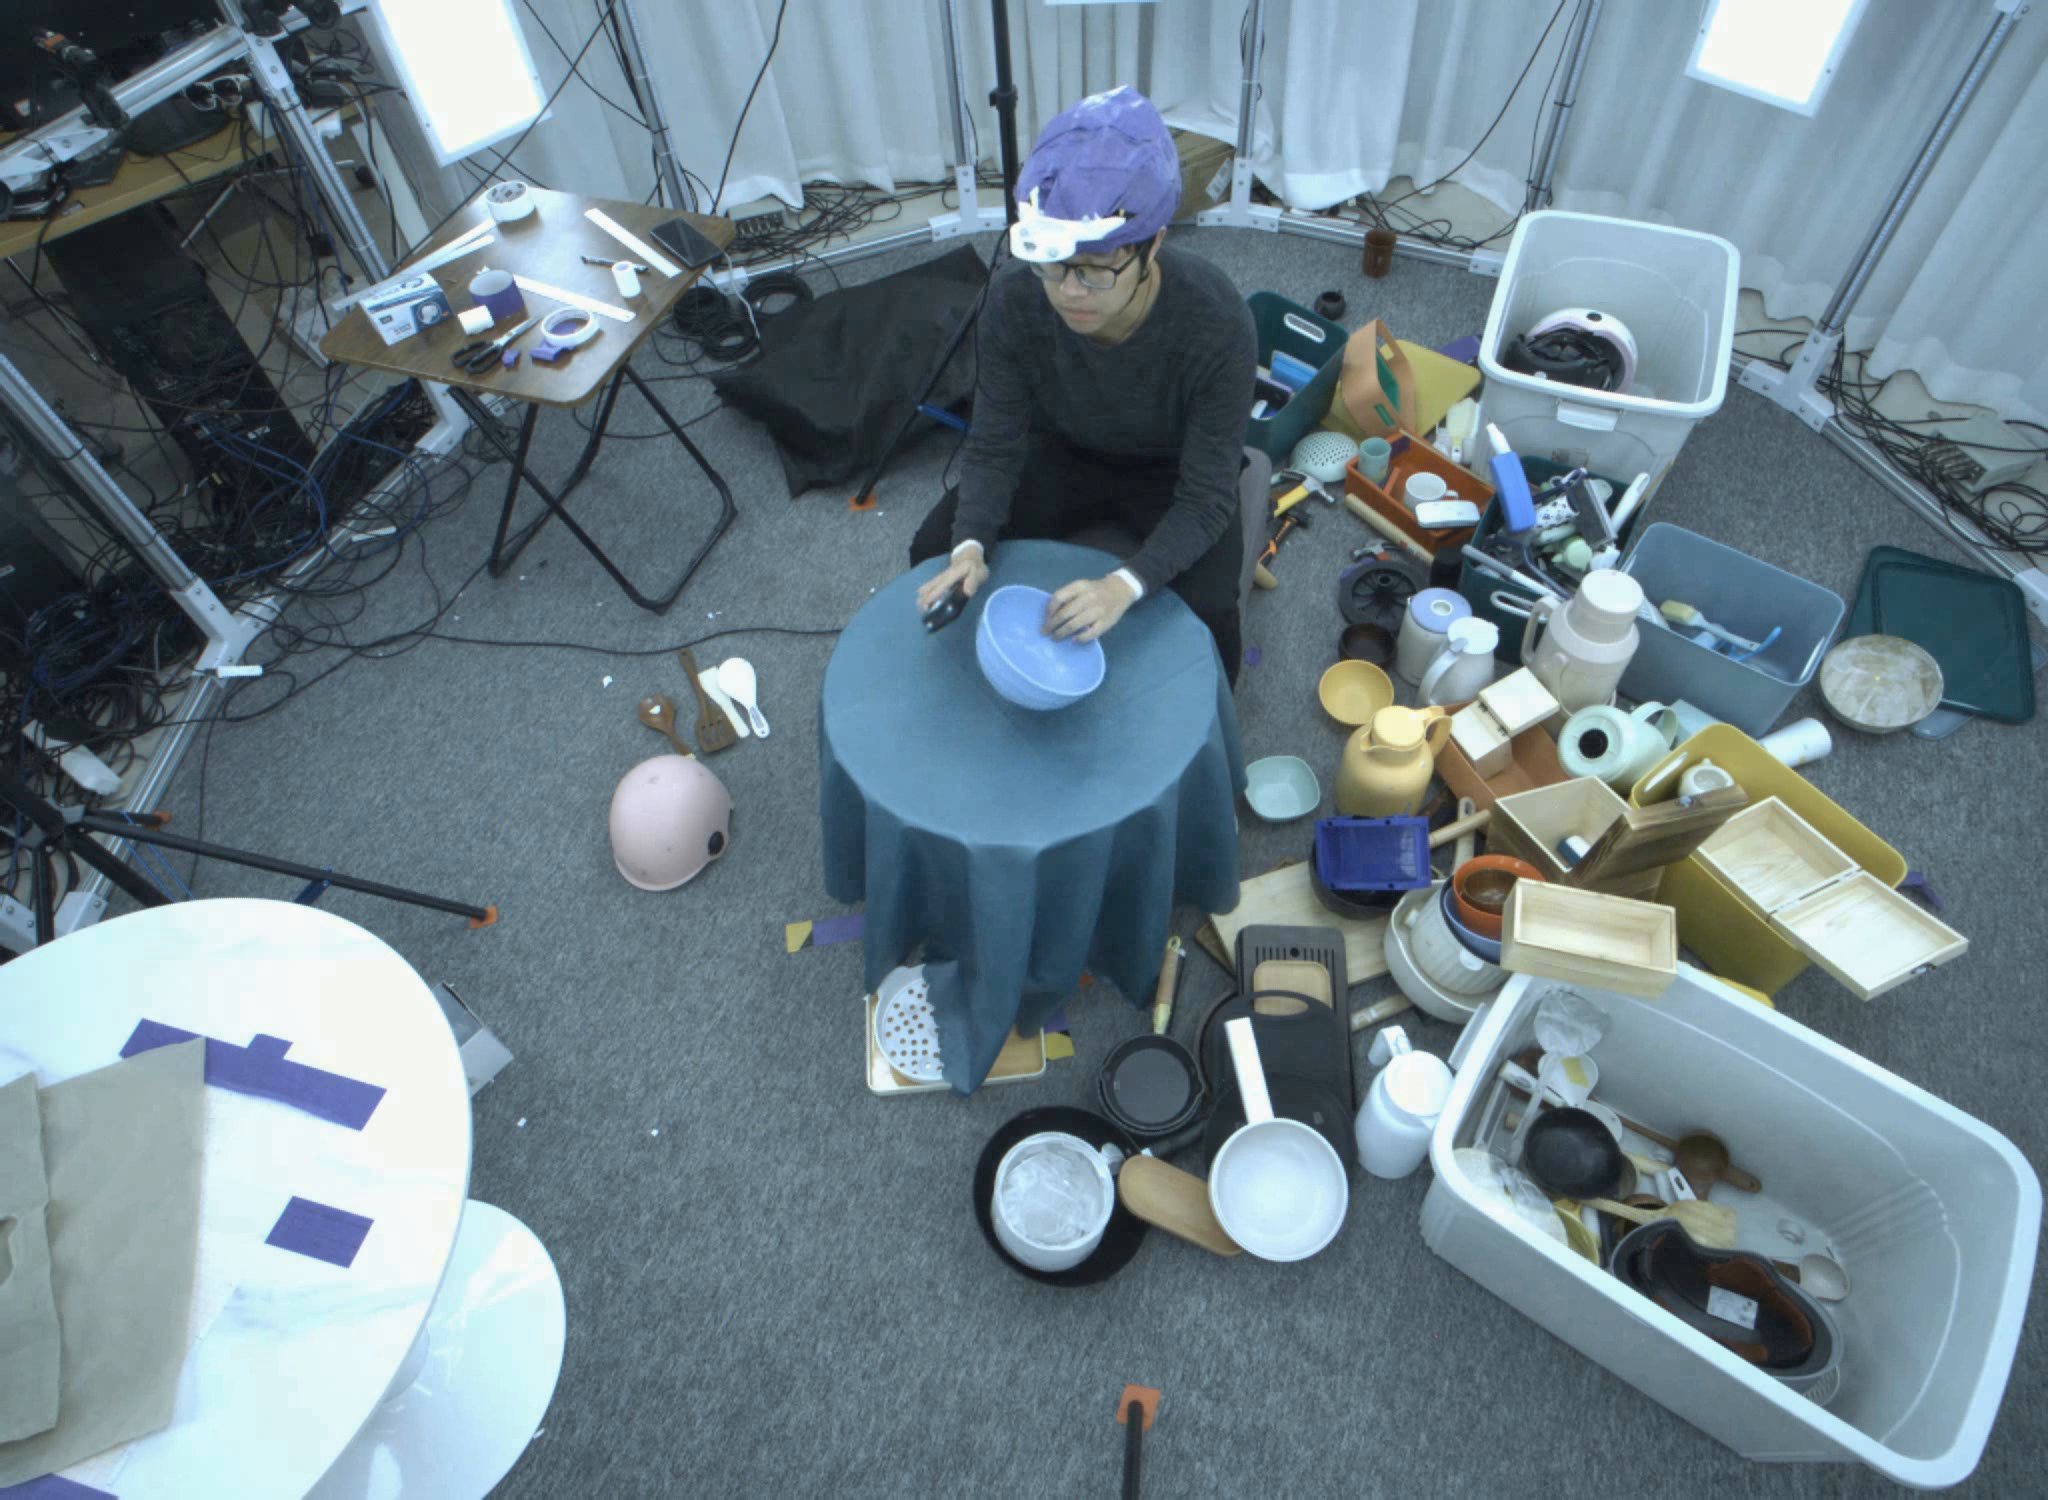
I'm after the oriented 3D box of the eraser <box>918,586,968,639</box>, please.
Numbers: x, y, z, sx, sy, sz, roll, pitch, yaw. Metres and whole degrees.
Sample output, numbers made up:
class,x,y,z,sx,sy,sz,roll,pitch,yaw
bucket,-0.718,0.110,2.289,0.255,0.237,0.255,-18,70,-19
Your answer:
class,x,y,z,sx,sy,sz,roll,pitch,yaw
eraser,-0.117,-0.203,1.788,0.053,0.031,0.125,-26,18,16

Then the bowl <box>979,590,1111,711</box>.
class,x,y,z,sx,sy,sz,roll,pitch,yaw
bowl,0.016,-0.126,1.754,0.199,0.095,0.194,18,44,-17
